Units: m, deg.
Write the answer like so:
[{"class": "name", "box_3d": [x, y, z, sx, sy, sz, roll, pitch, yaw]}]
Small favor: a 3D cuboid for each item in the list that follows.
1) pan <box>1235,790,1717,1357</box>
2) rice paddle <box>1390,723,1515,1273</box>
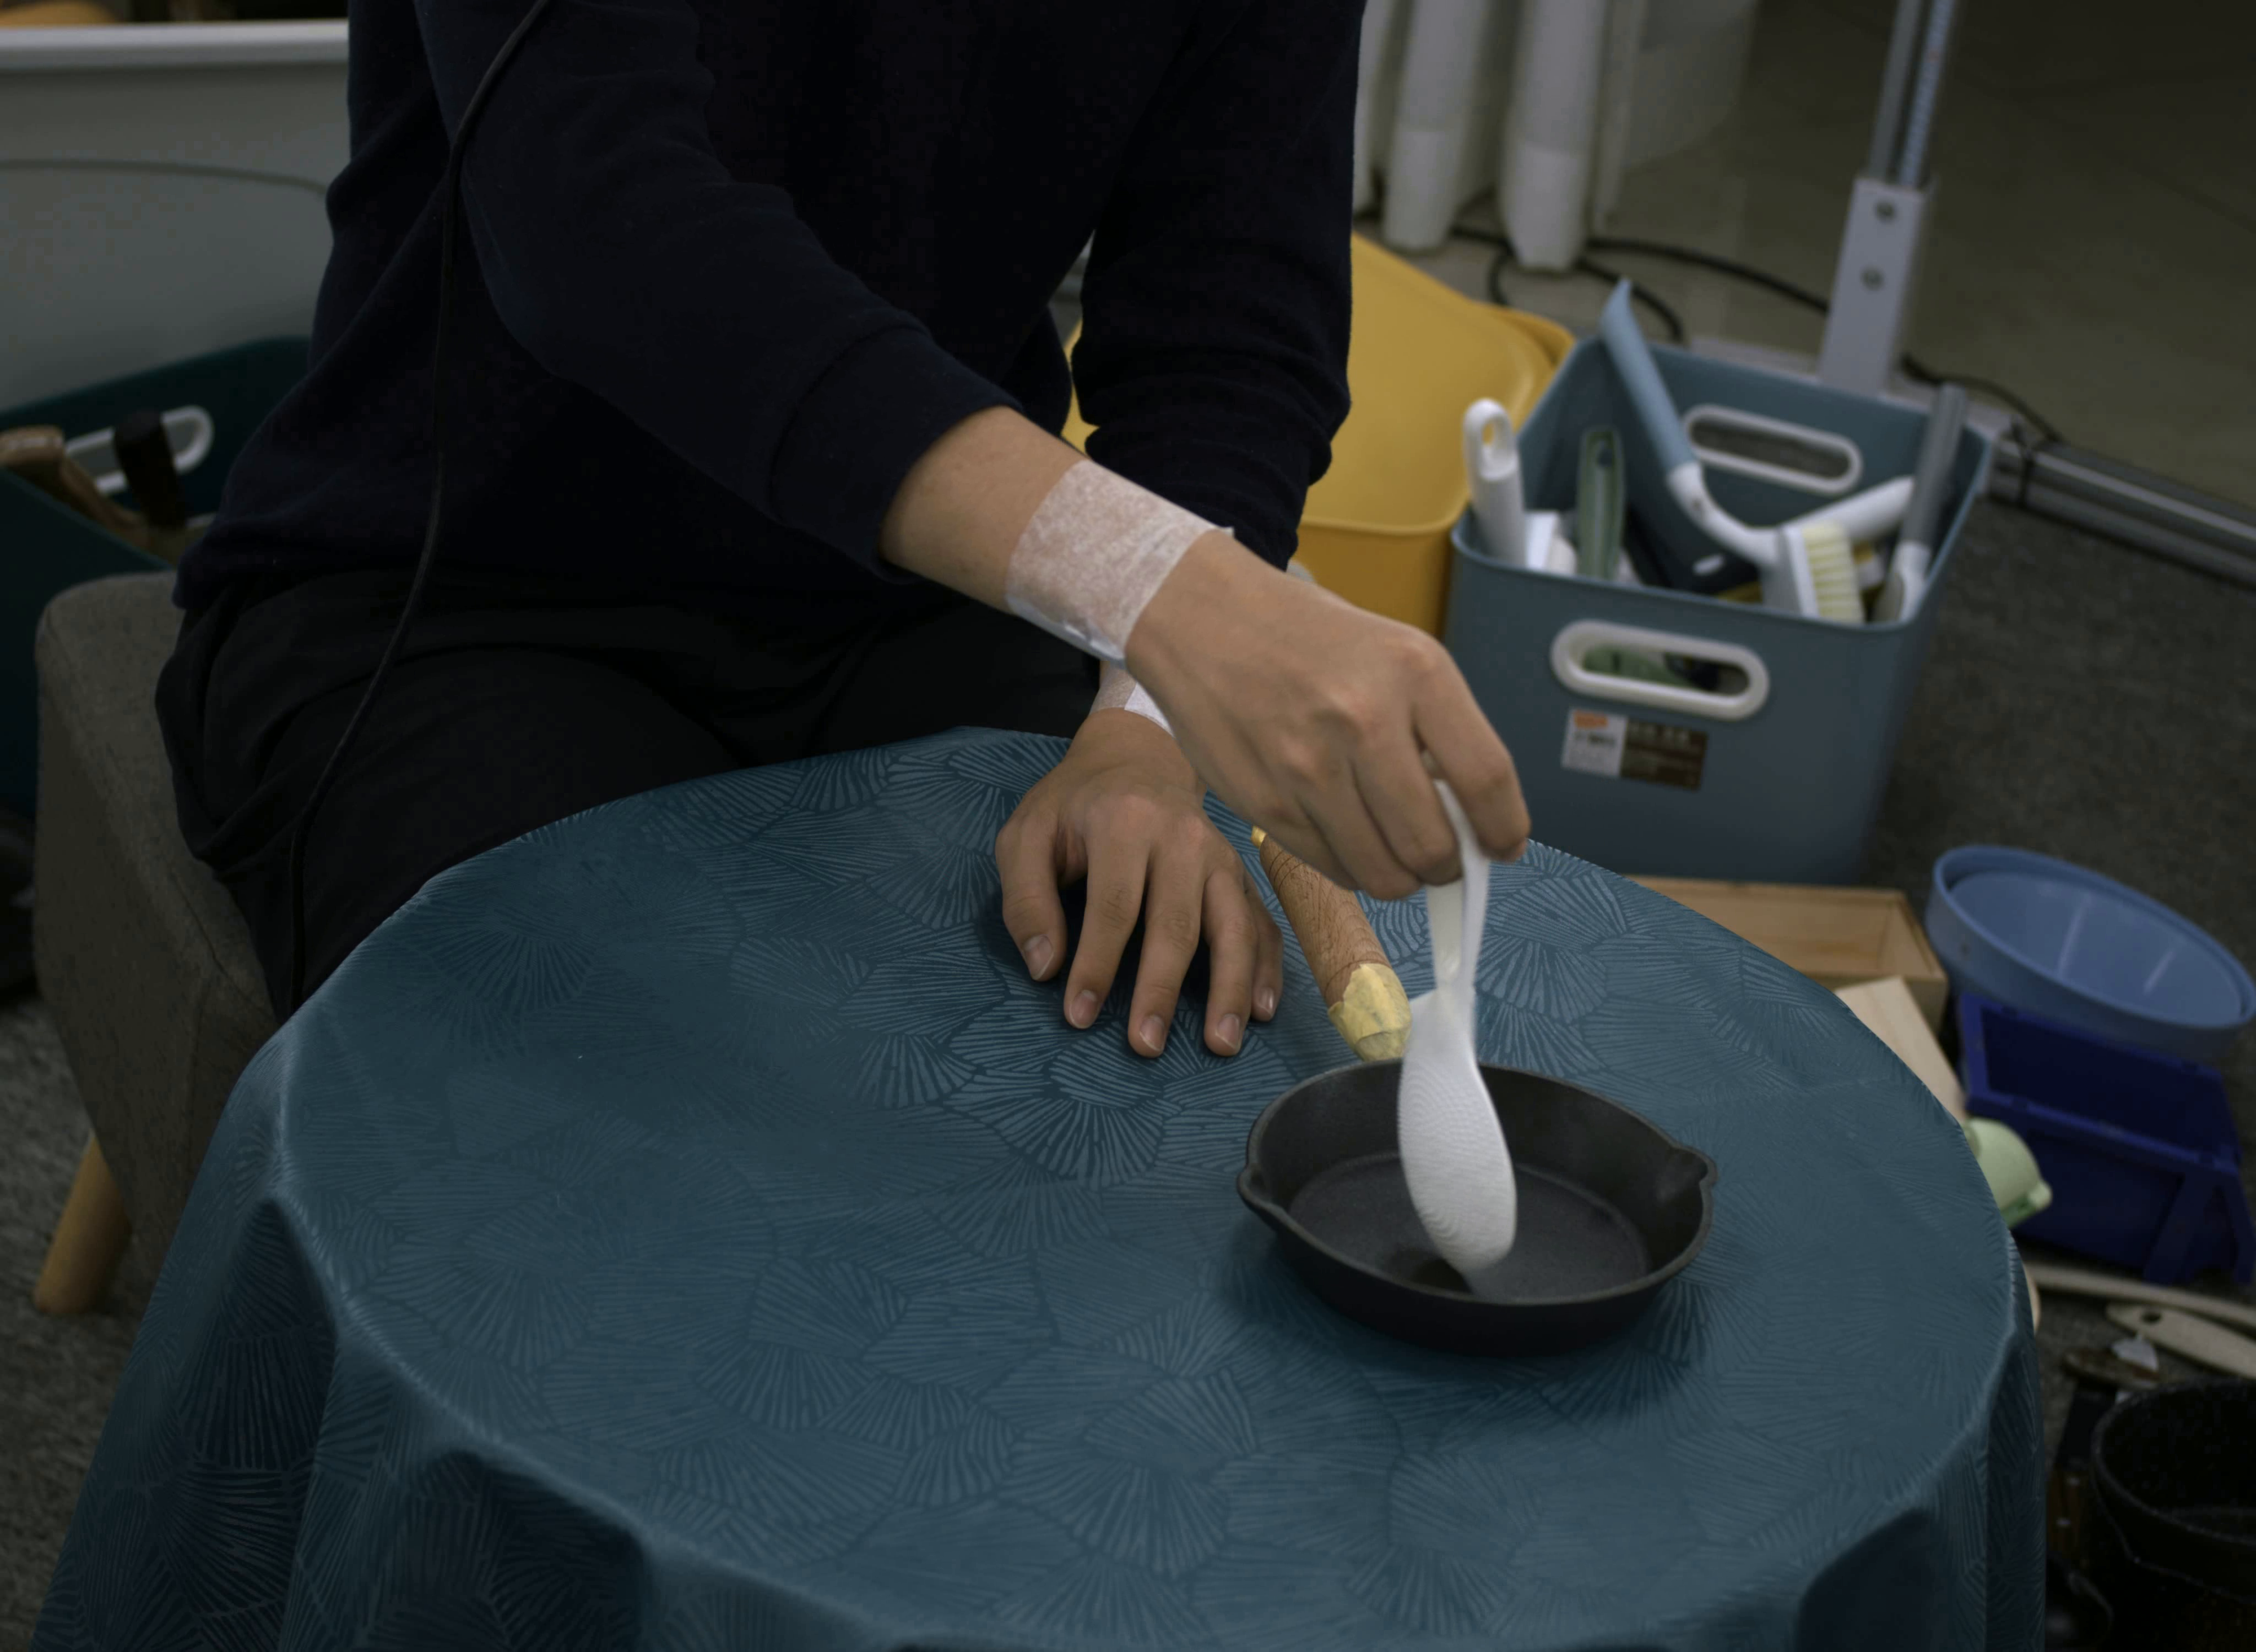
[{"class": "pan", "box_3d": [0.096, 0.083, 1.848, 0.168, 0.049, 0.327, -1, 29, -15]}, {"class": "rice paddle", "box_3d": [0.105, 0.060, 1.720, 0.029, 0.204, 0.069, -20, 36, -21]}]
